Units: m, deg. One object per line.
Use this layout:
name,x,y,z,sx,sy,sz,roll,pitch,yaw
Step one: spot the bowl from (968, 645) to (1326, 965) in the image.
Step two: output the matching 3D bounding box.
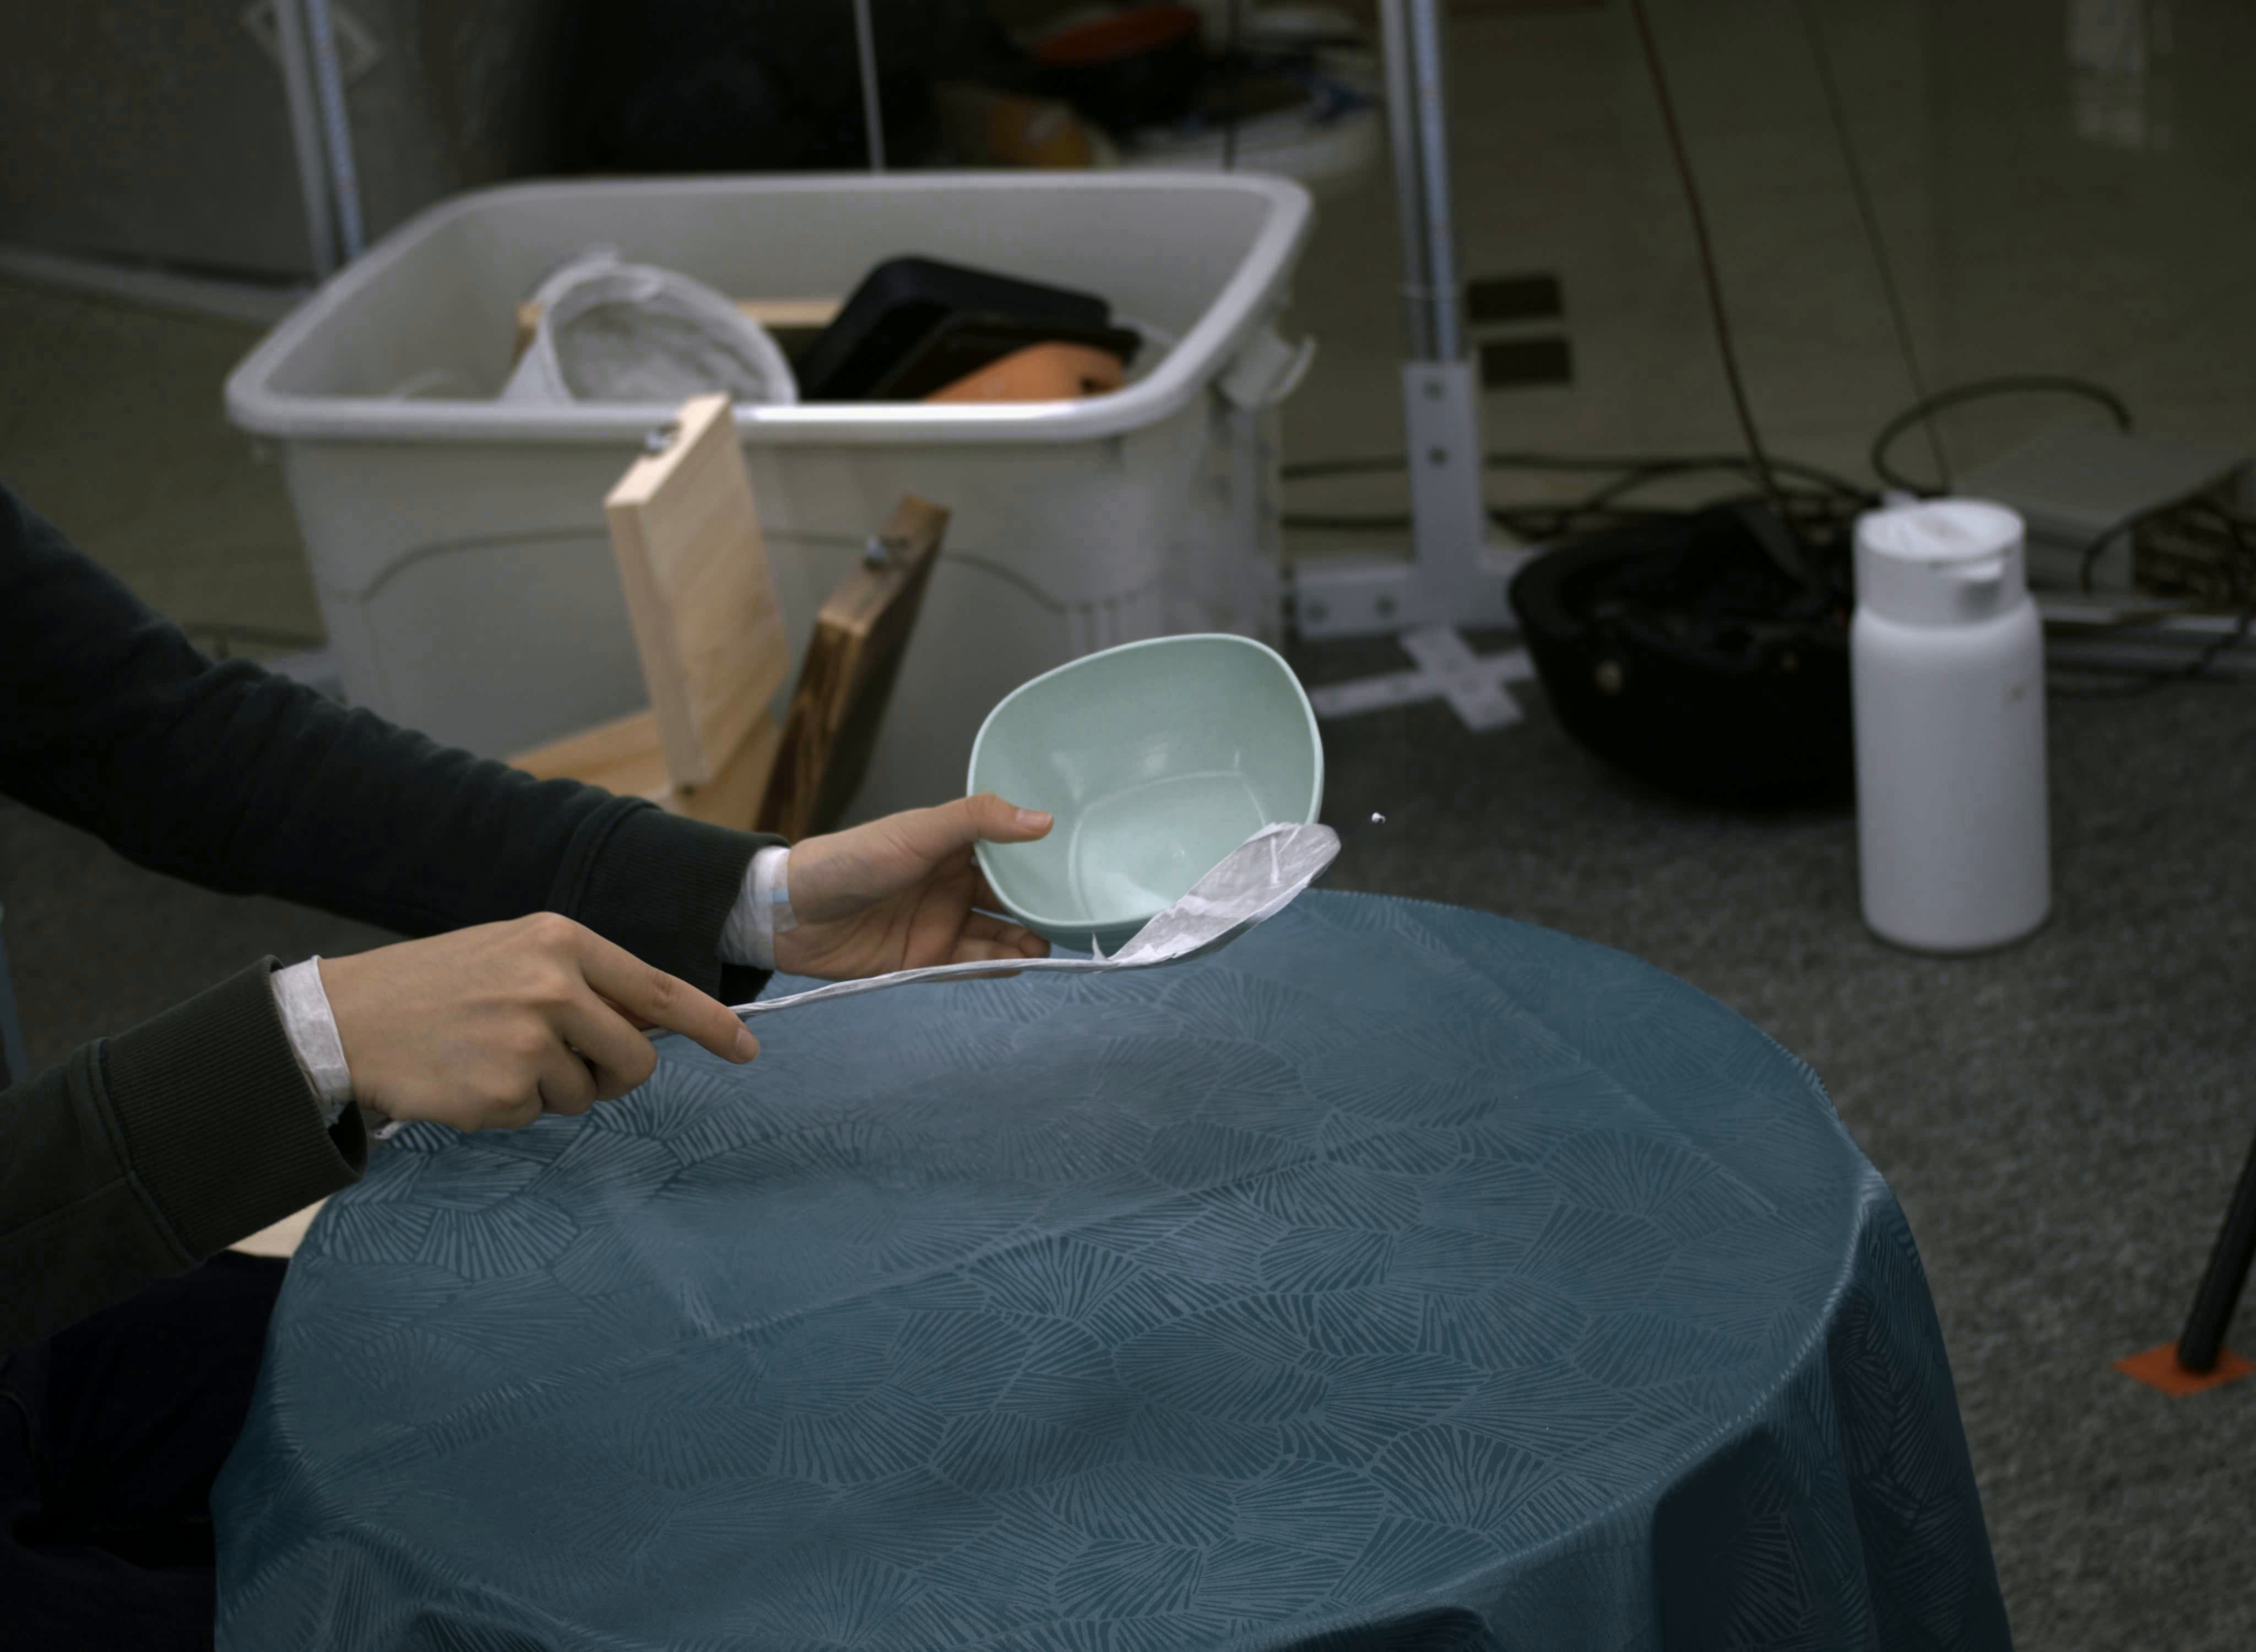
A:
bowl,0.012,0.001,2.181,0.151,0.060,0.149,-8,48,10

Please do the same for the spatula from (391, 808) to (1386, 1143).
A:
spatula,-0.079,0.049,1.925,0.363,0.045,0.098,-12,4,-23
